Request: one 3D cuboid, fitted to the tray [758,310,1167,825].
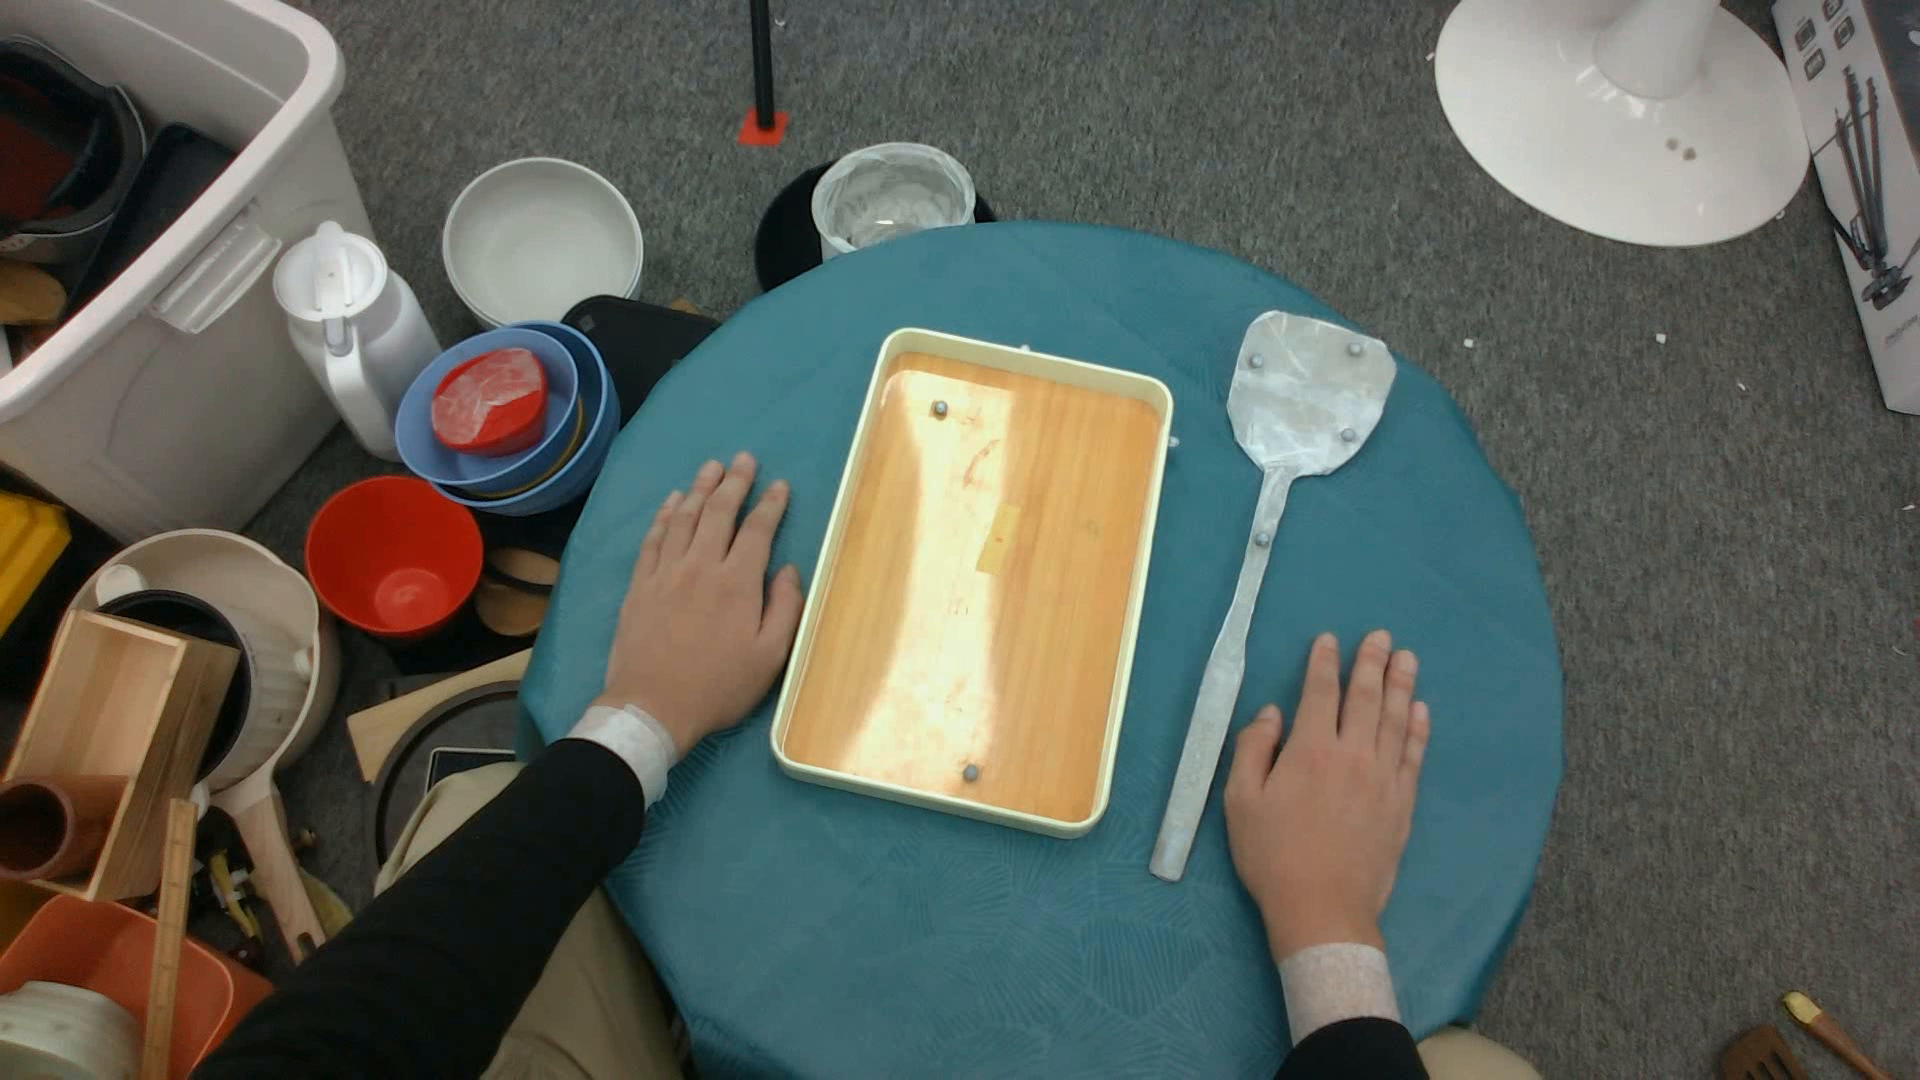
[{"bbox_3d":[0.009,0.006,0.820,0.191,0.027,0.301,13,64,2],"label":"tray"}]

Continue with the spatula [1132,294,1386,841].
[{"bbox_3d":[0.169,0.009,0.824,0.098,0.044,0.366,20,64,5],"label":"spatula"}]
